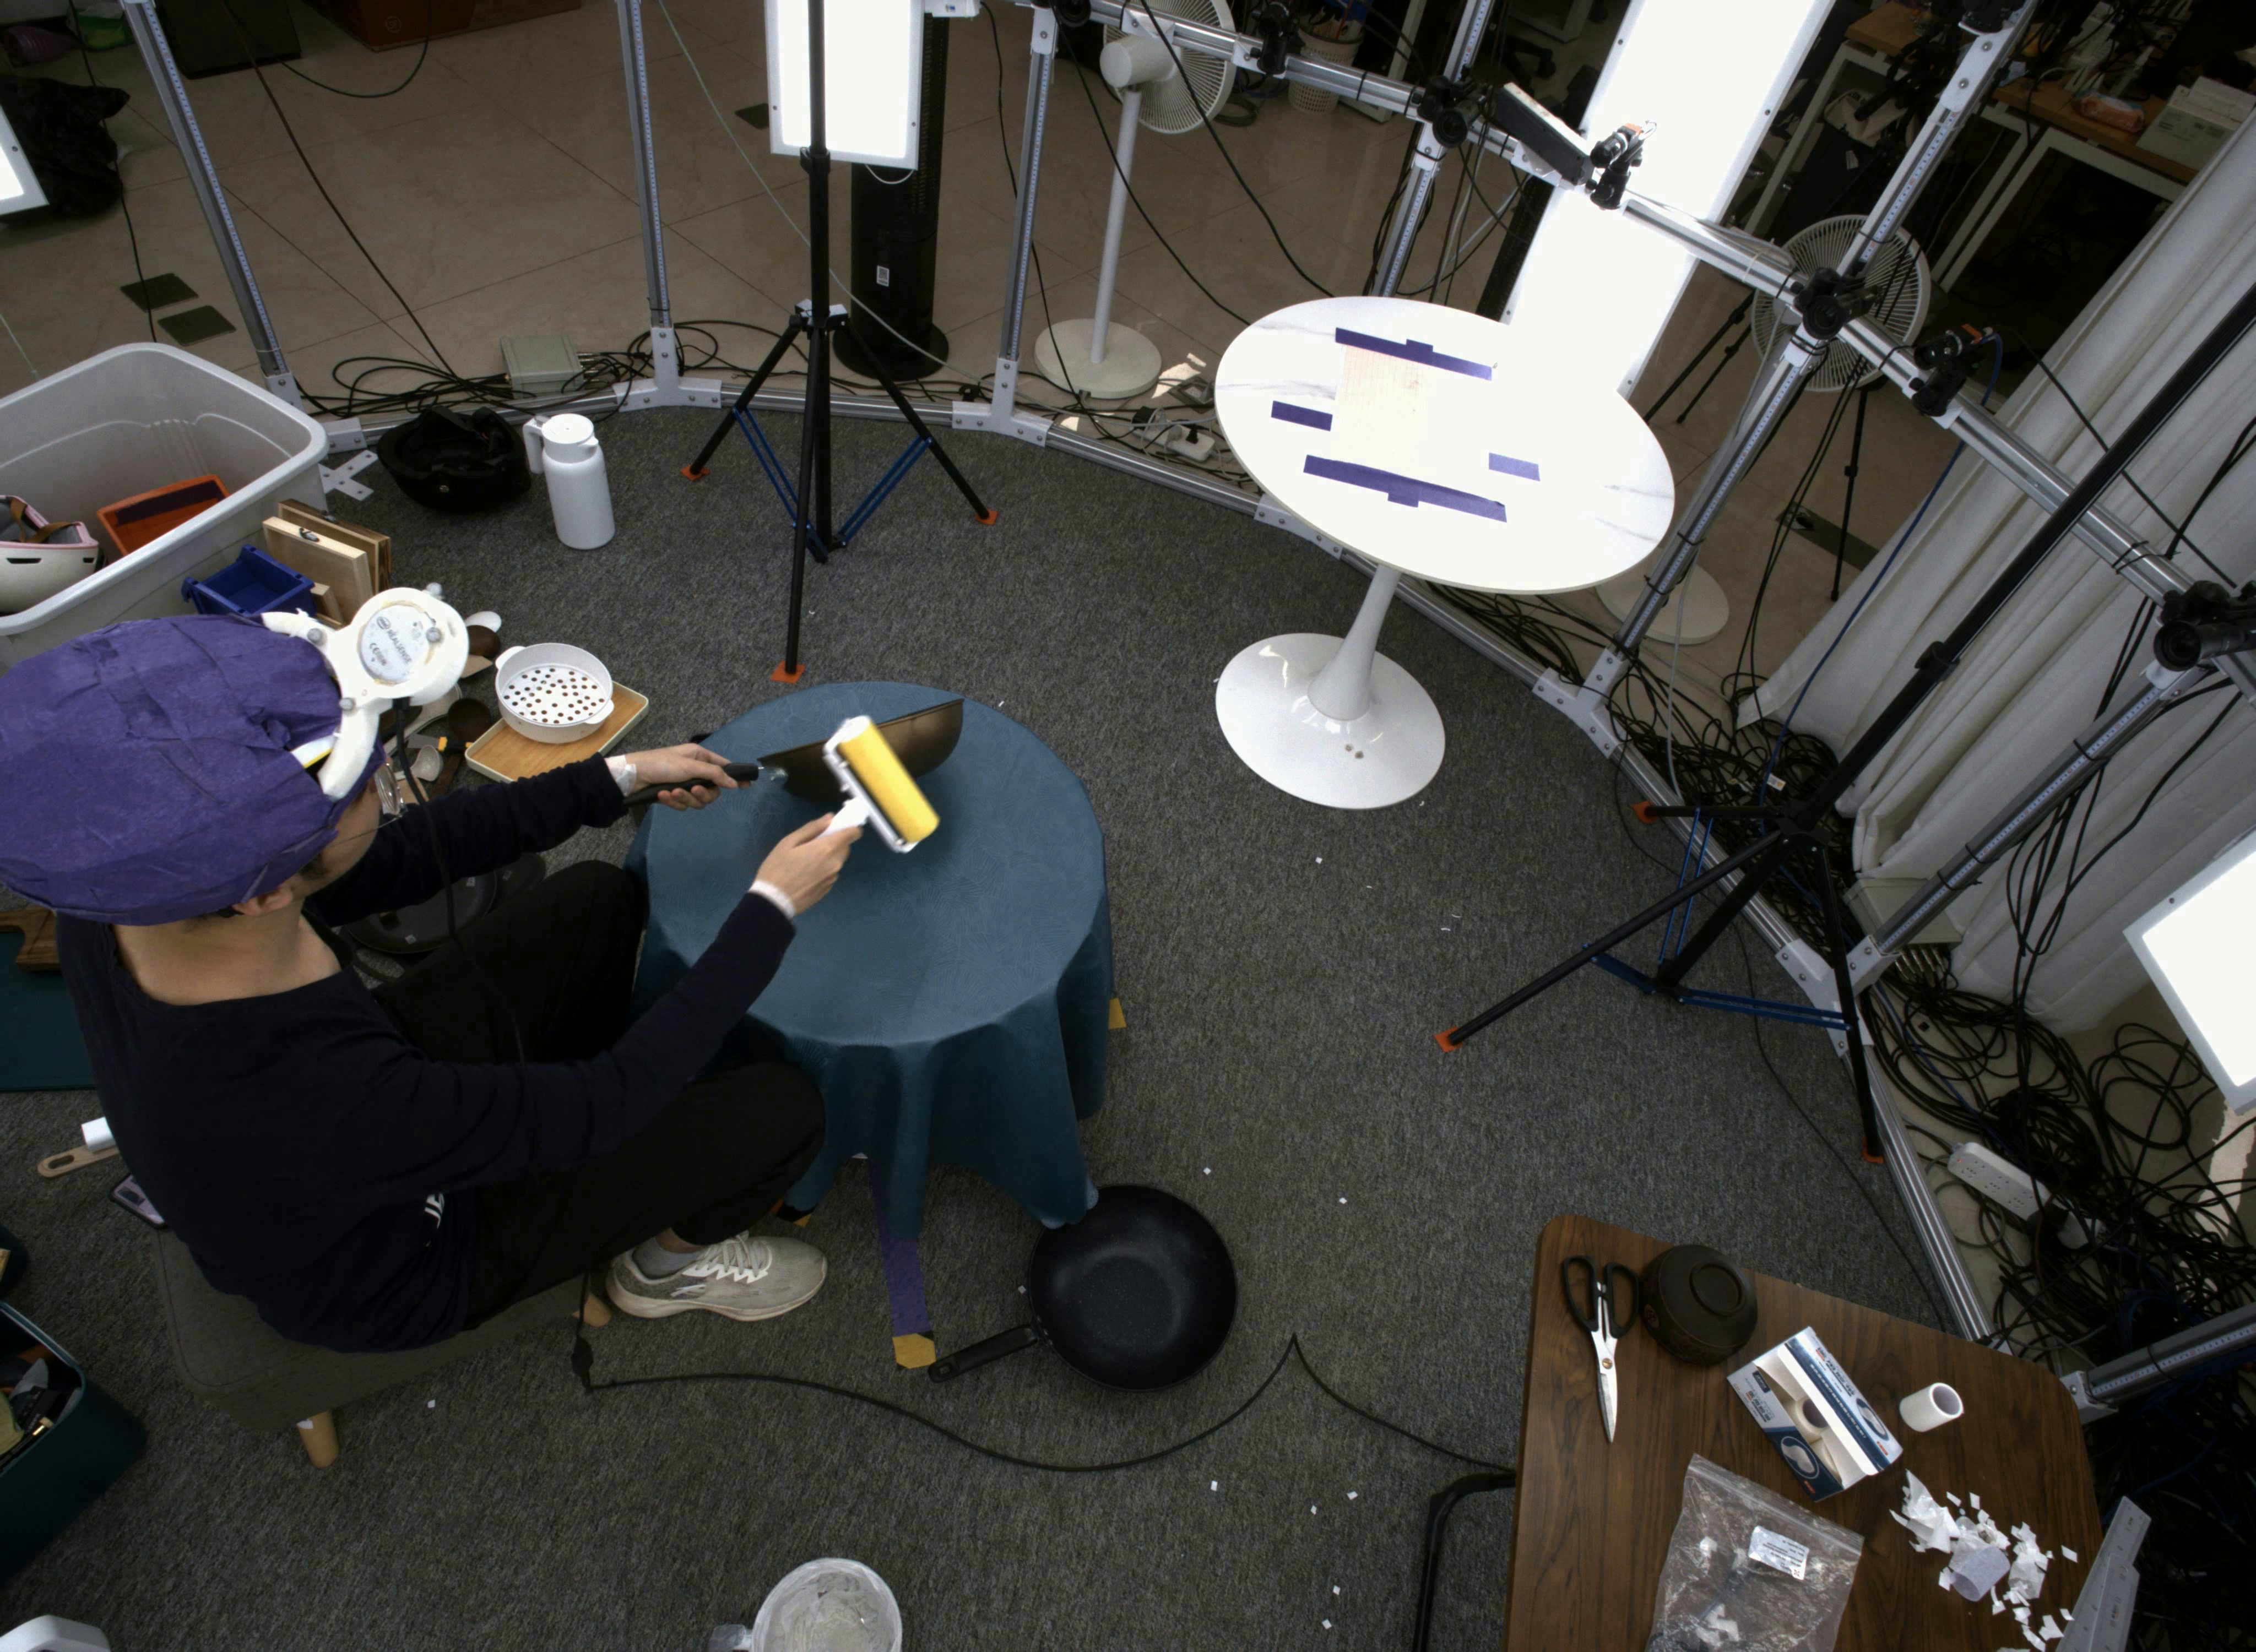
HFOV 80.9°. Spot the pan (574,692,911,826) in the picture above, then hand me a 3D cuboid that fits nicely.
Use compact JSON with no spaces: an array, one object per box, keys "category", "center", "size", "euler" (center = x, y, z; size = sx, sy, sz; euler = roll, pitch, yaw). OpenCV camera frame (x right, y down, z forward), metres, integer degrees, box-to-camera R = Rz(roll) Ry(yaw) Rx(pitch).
[{"category":"pan","center":[-0.466,-0.057,1.621],"size":[0.466,0.280,0.088],"euler":[-25,99,-37]}]

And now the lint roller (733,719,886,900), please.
[{"category":"lint roller","center":[-0.379,0.004,1.474],"size":[0.050,0.181,0.191],"euler":[2,51,38]}]
